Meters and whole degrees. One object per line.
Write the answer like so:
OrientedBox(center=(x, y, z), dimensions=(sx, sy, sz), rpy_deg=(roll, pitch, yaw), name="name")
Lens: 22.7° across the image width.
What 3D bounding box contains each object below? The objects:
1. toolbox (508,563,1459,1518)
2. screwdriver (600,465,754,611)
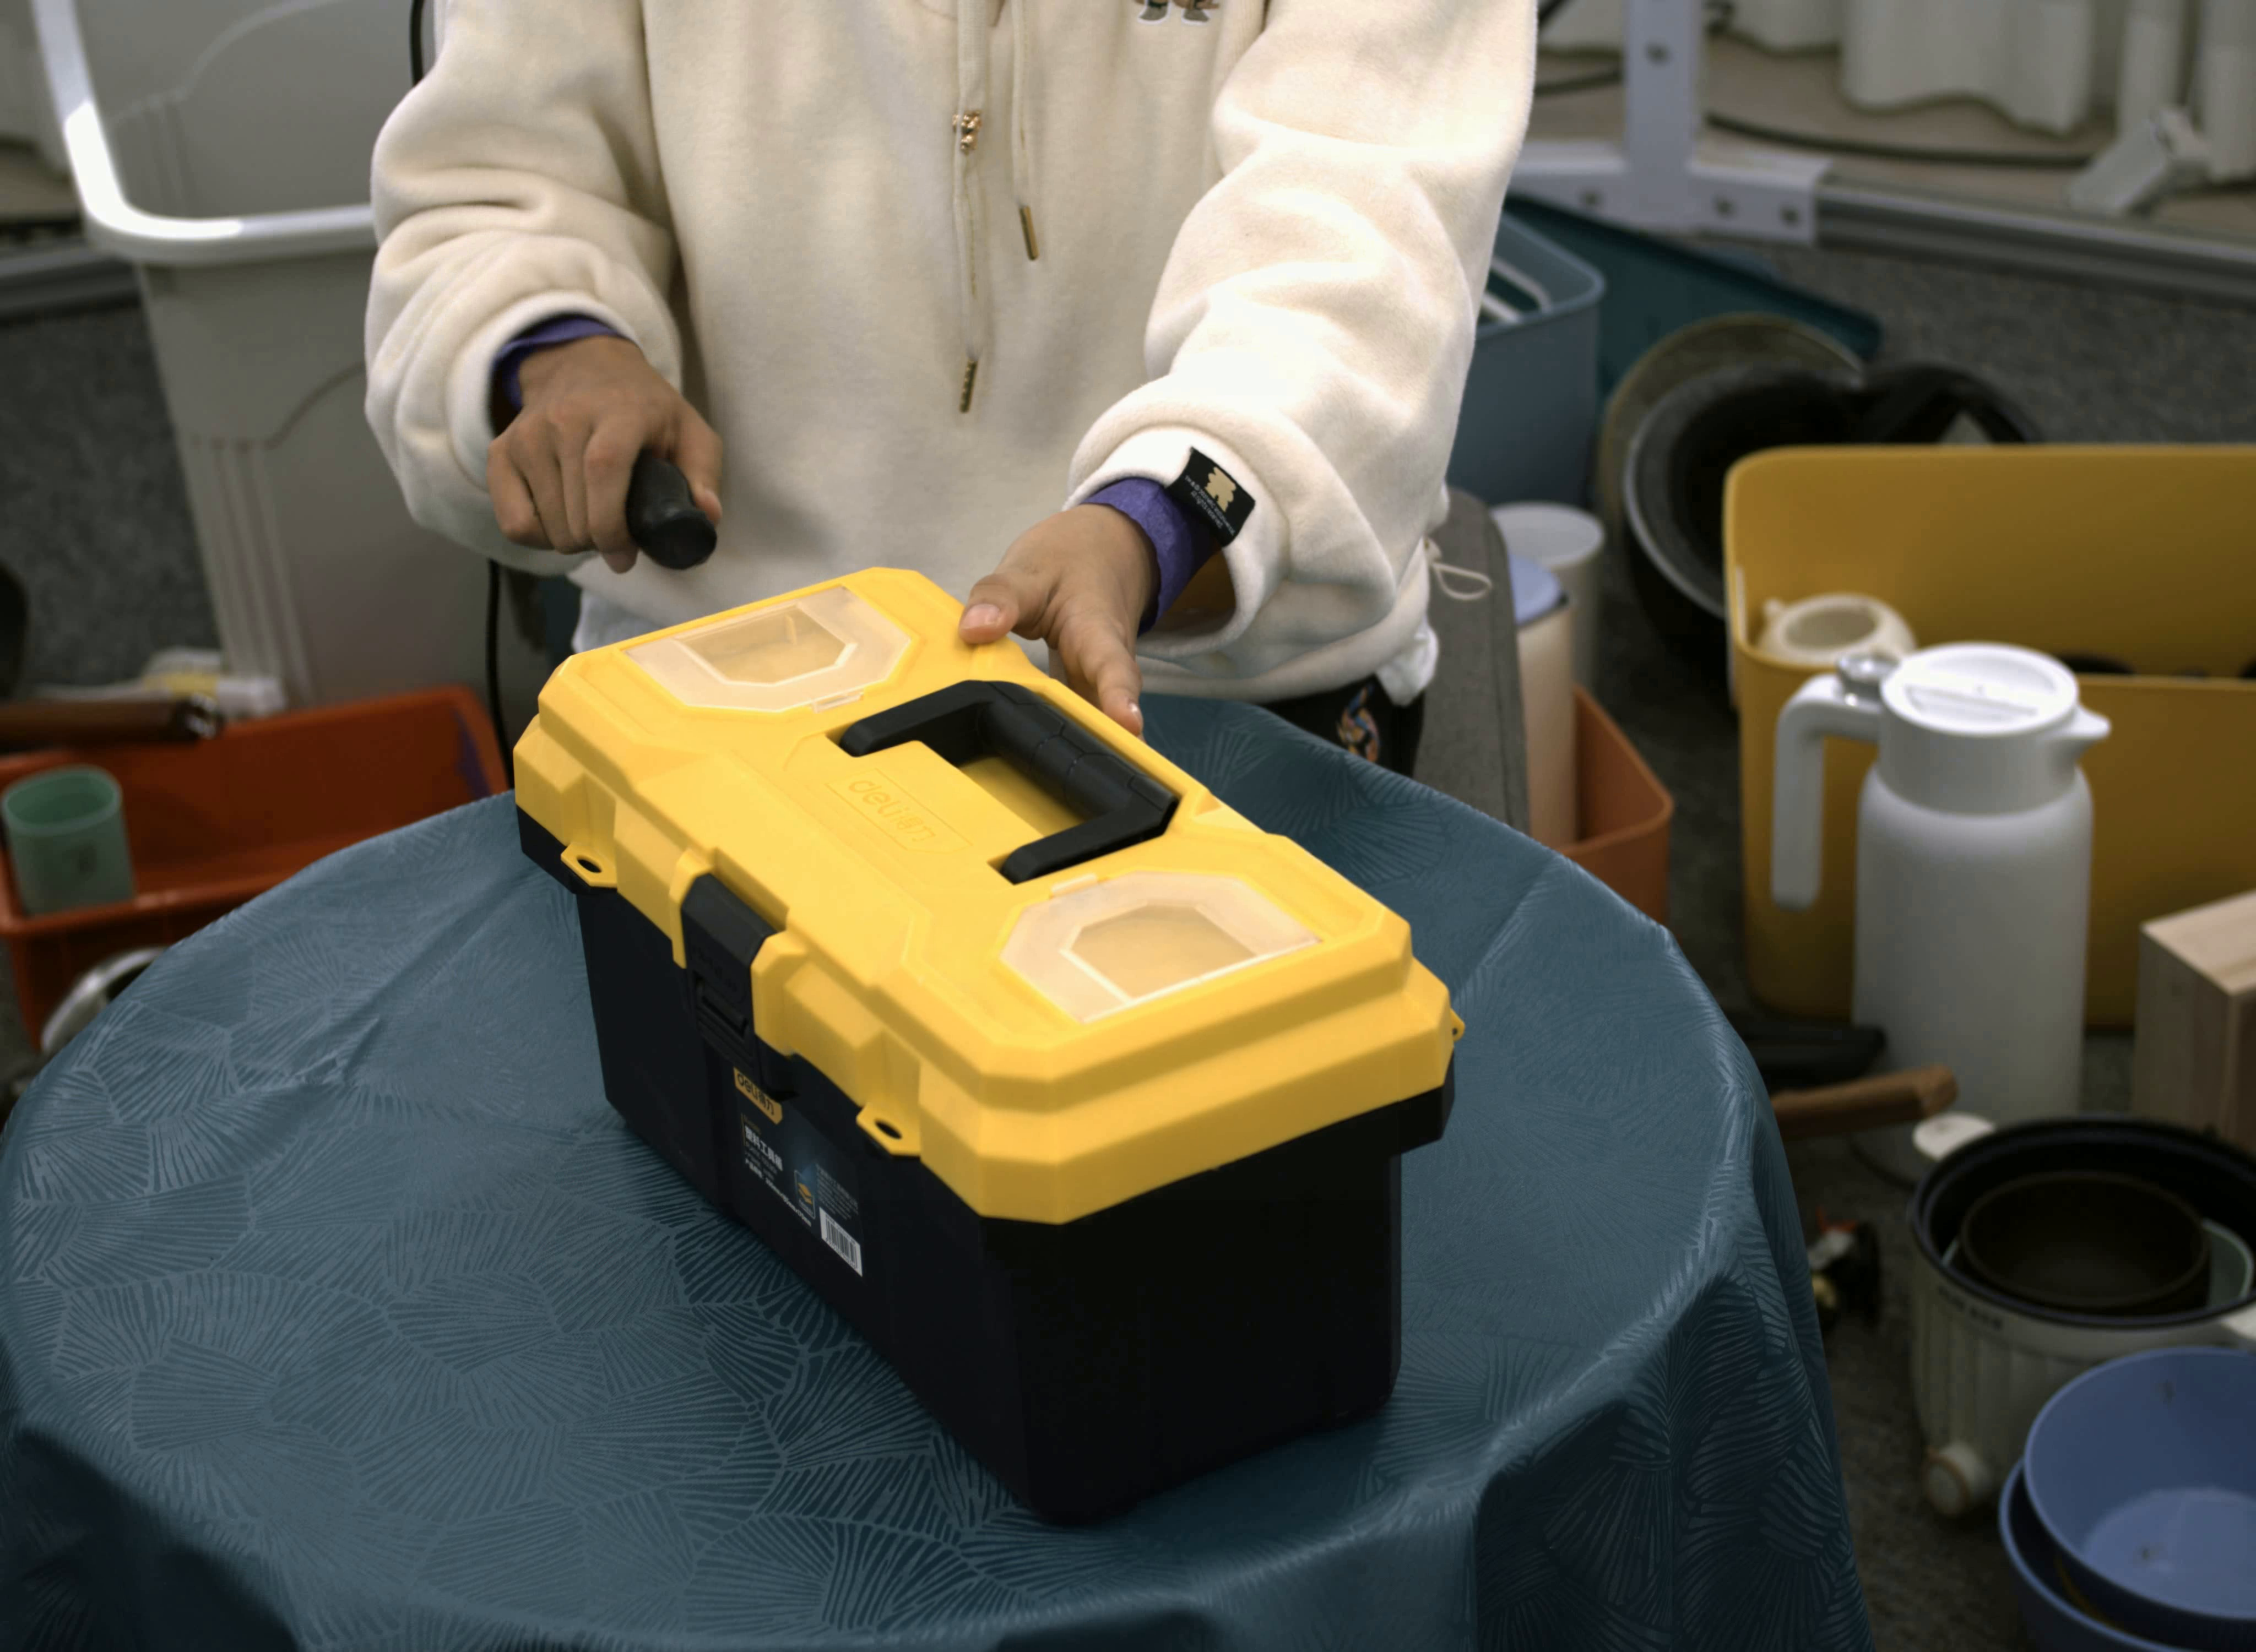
OrientedBox(center=(-0.051, 0.062, 1.795), dimensions=(0.182, 0.171, 0.353), rpy_deg=(-17, 30, -26), name="toolbox")
OrientedBox(center=(-0.157, -0.094, 1.990), dimensions=(0.031, 0.031, 0.199), rpy_deg=(-10, 21, -14), name="screwdriver")
